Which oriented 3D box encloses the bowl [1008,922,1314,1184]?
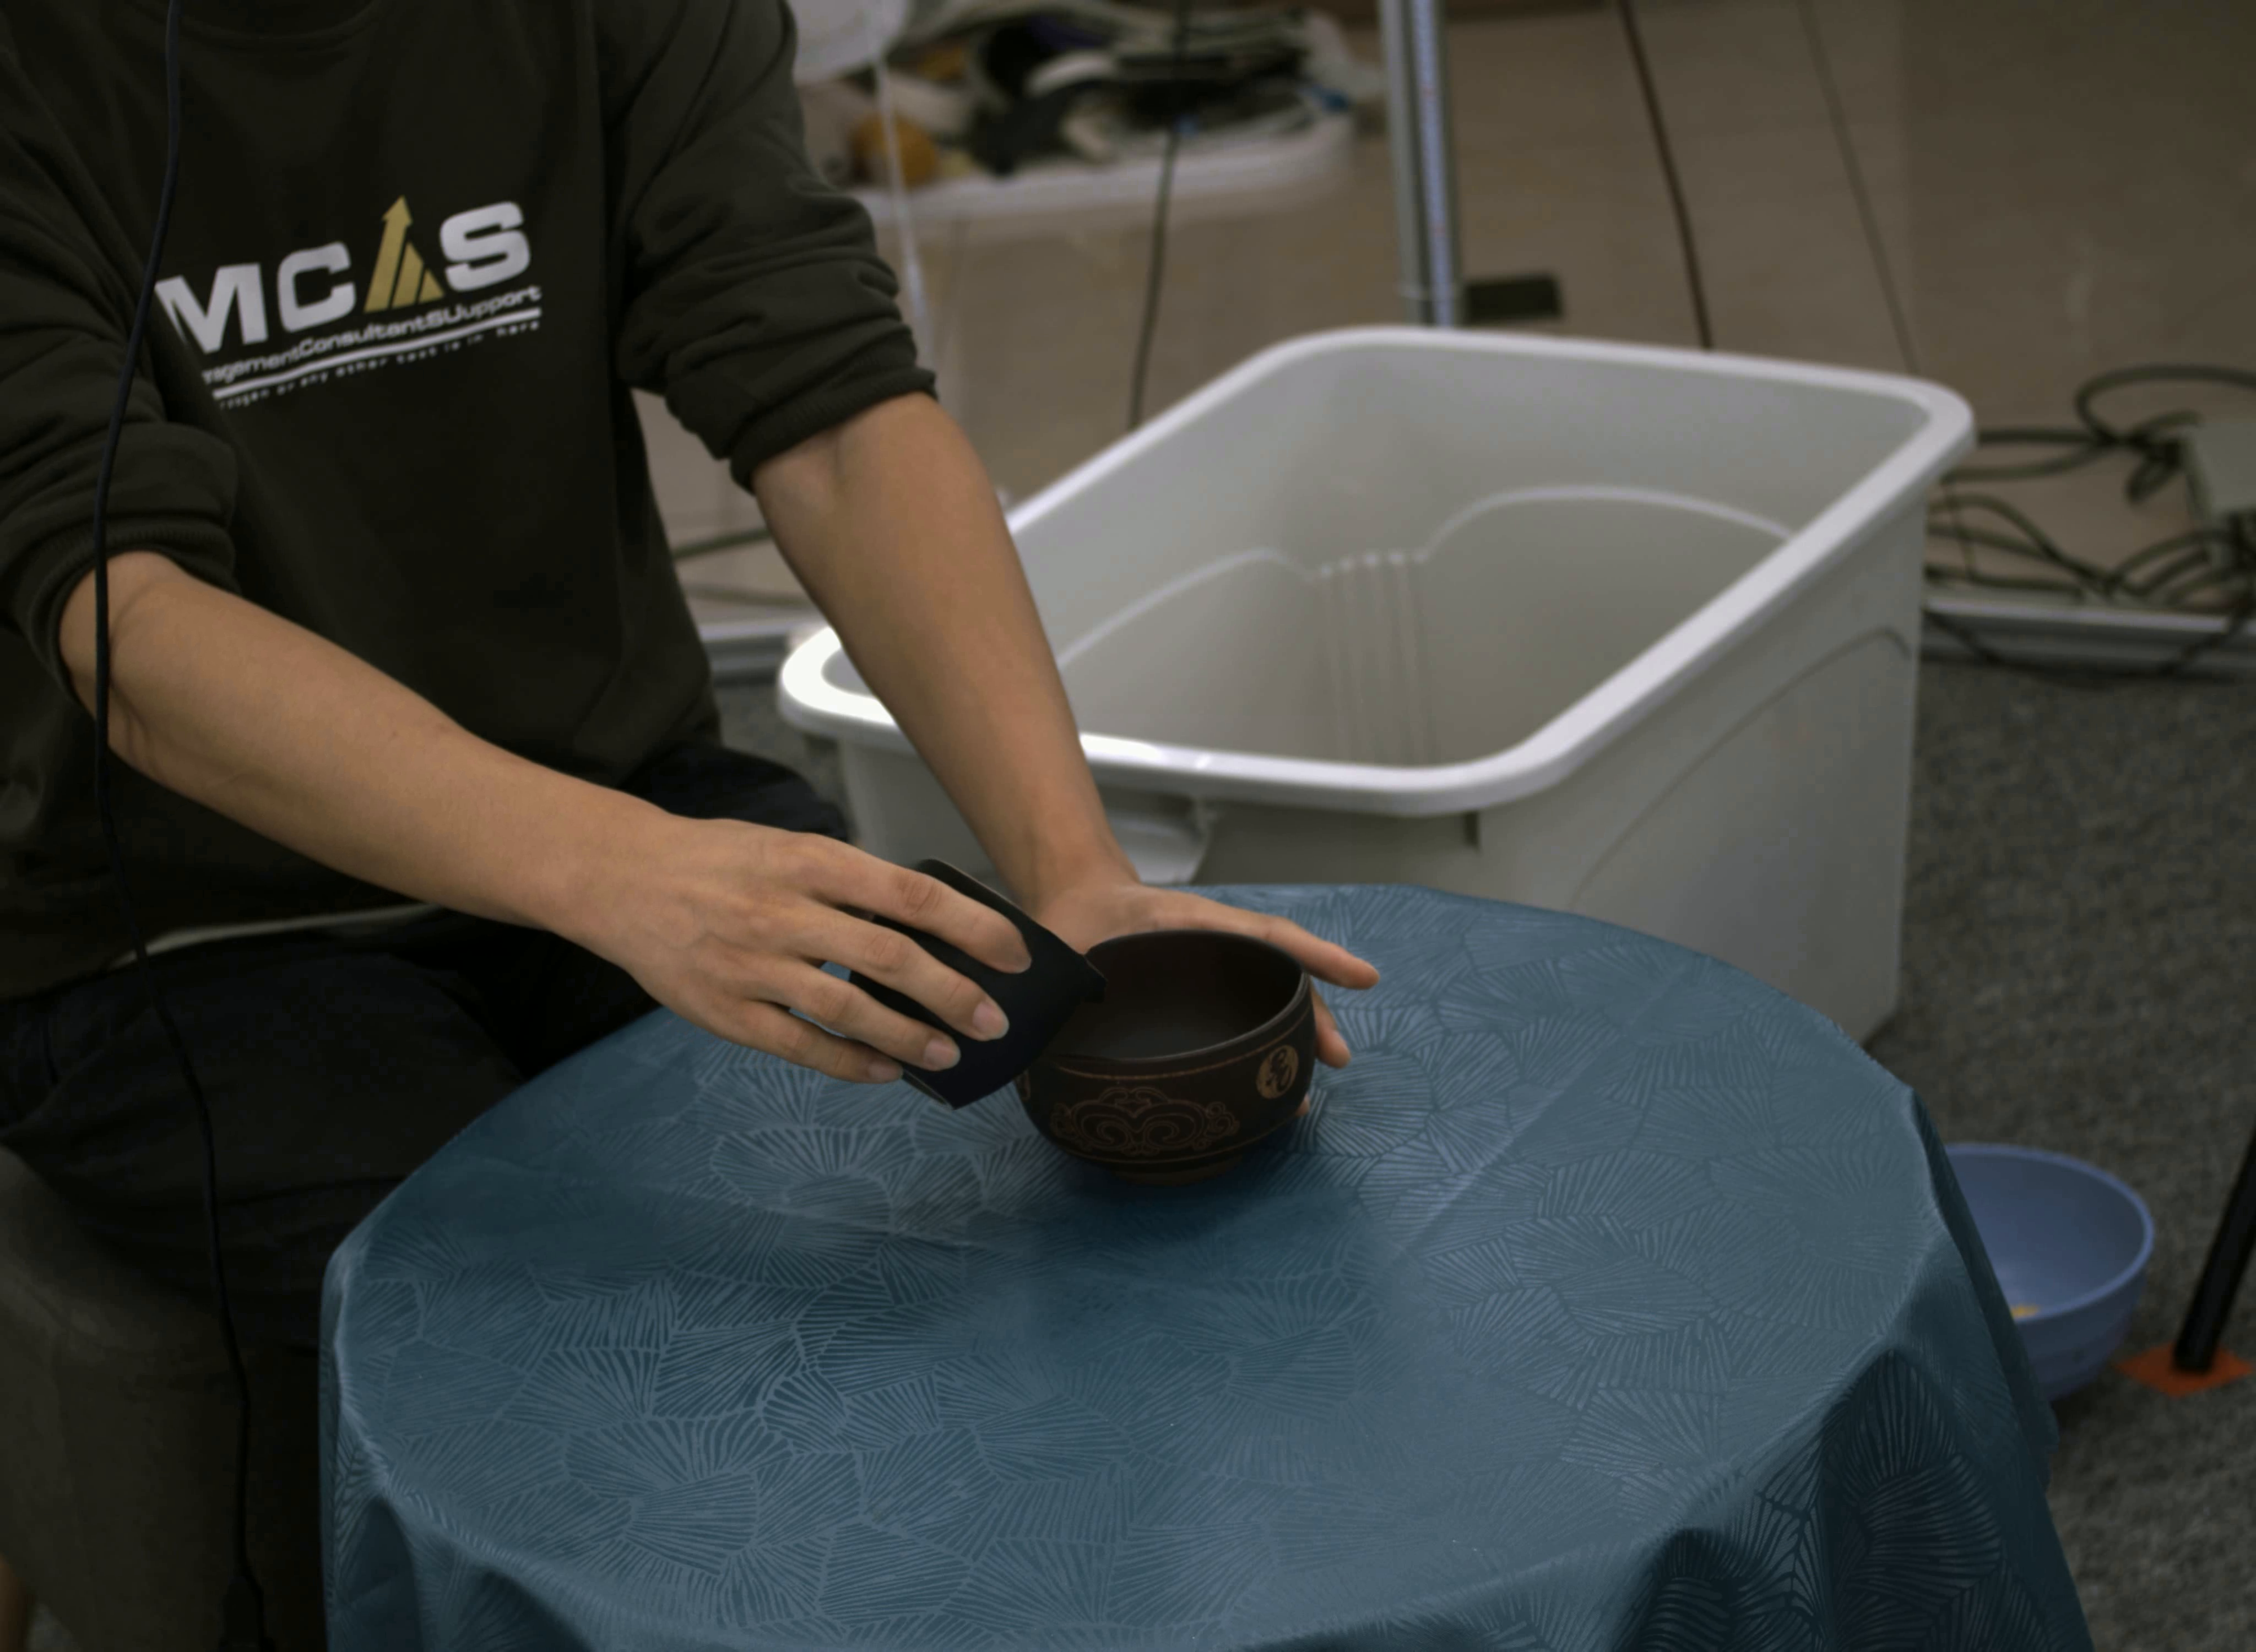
[{"bbox_3d":[0.013,0.093,2.159,0.118,0.071,0.116,-5,28,3],"label":"bowl"}]

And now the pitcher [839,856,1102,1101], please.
[{"bbox_3d":[-0.063,0.061,2.098,0.071,0.097,0.083,-57,26,-8],"label":"pitcher"}]
